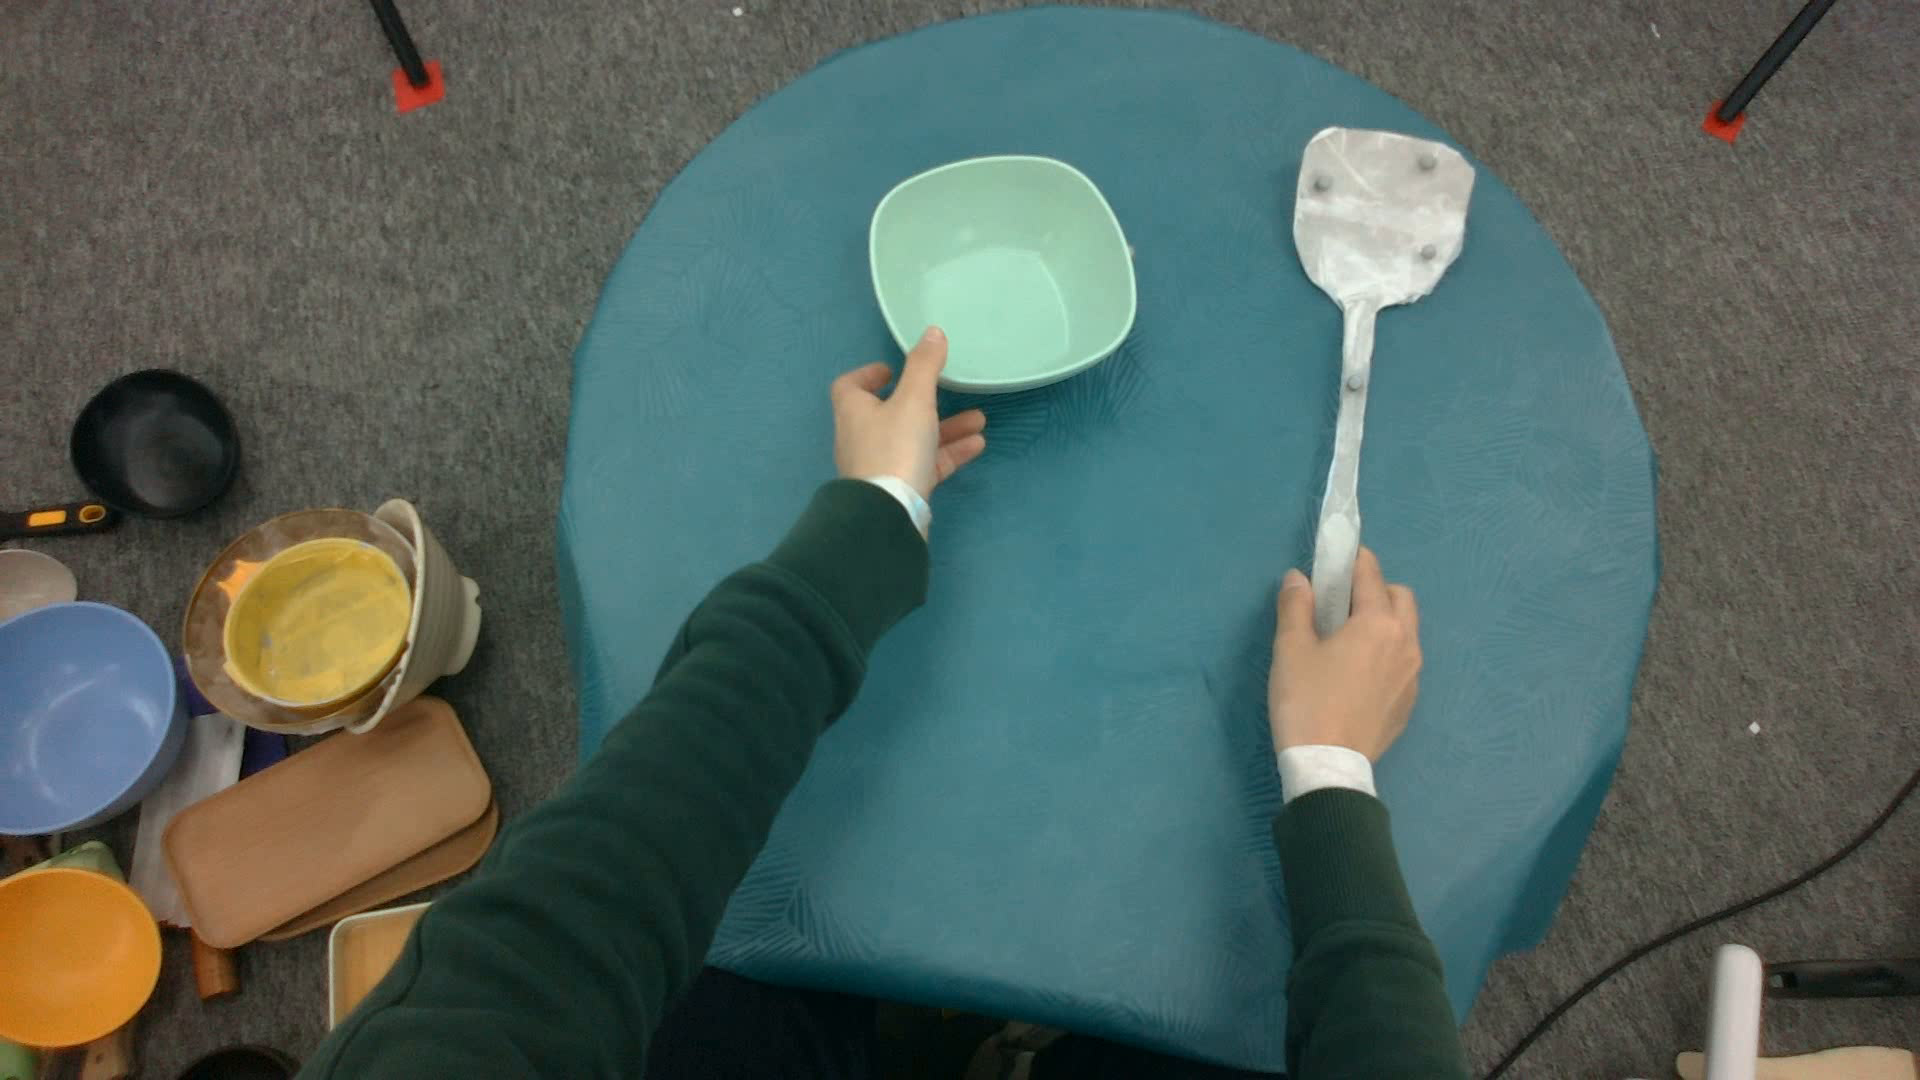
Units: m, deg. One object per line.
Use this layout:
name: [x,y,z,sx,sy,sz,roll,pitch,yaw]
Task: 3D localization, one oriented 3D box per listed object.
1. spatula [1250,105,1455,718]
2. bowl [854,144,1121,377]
spatula: [0.201,-0.078,0.751,0.098,0.044,0.366,13,68,3]
bowl: [0.013,-0.143,0.756,0.151,0.058,0.152,2,66,-4]
